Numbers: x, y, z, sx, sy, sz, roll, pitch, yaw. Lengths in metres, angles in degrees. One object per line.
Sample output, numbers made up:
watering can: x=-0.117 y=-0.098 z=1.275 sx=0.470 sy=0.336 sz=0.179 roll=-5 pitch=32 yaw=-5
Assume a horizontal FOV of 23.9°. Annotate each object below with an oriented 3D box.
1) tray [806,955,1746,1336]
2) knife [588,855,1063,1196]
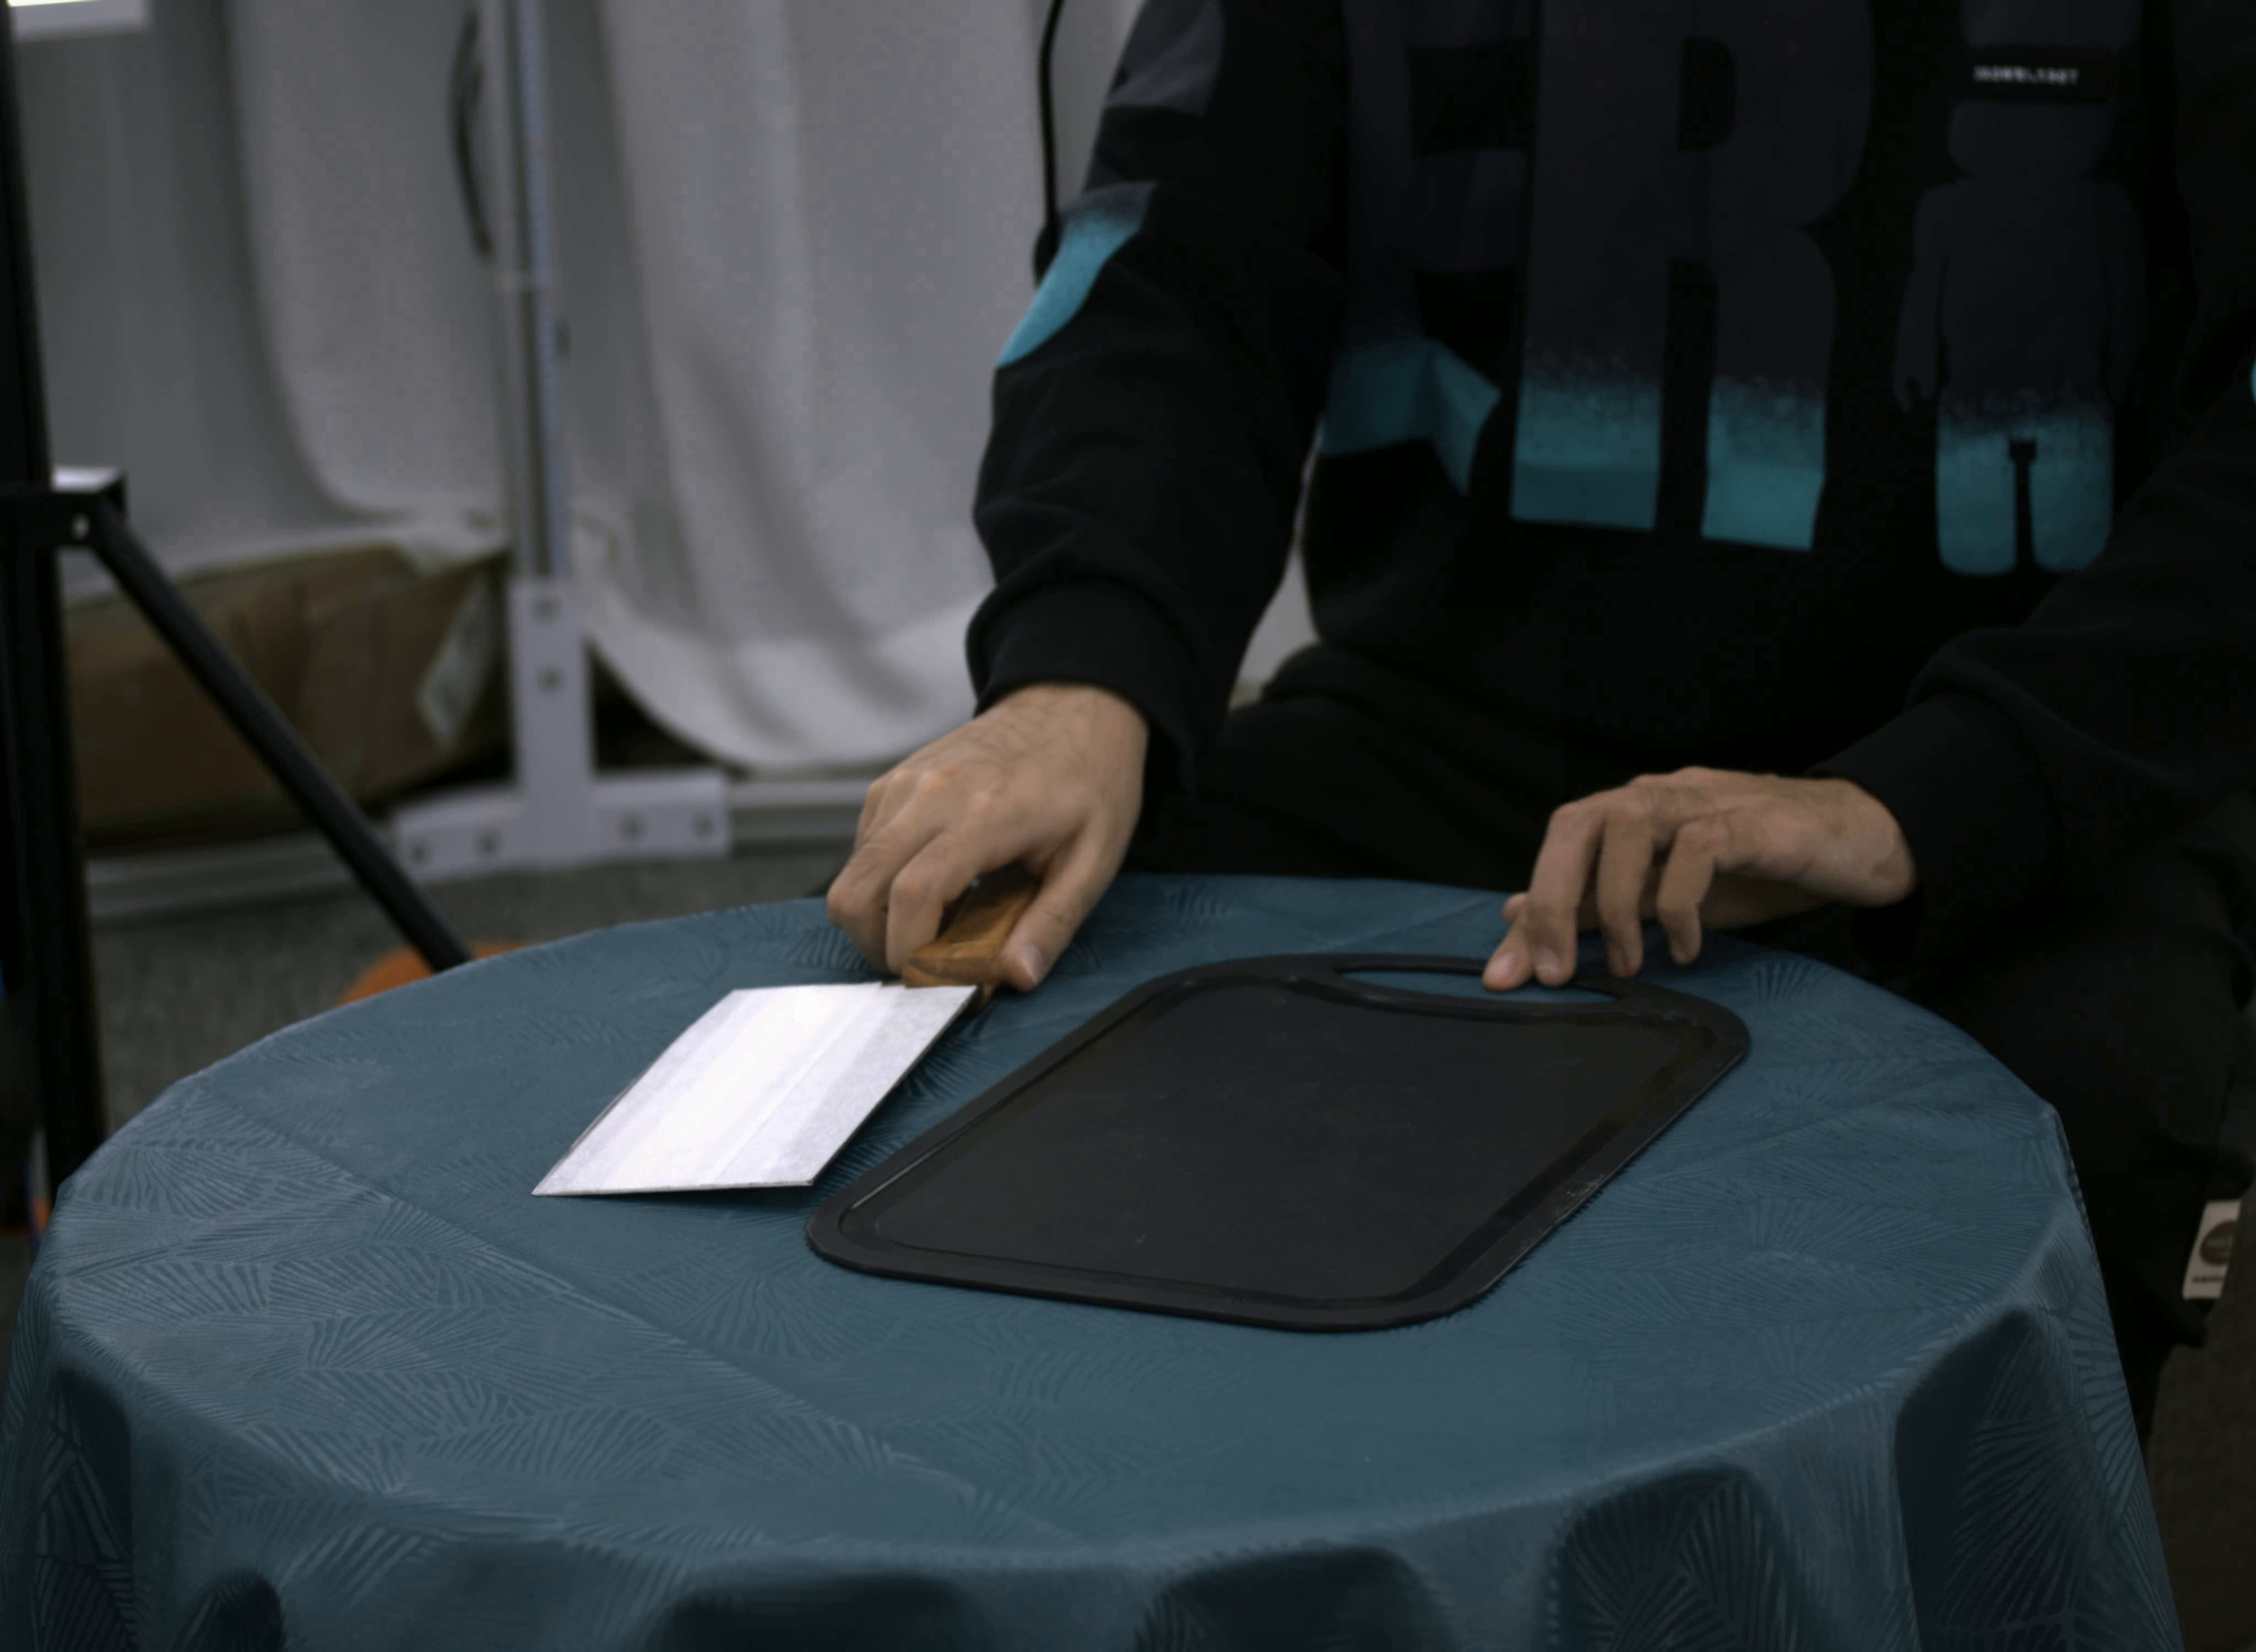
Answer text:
tray: x=0.054 y=0.088 z=1.607 sx=0.214 sy=0.010 sz=0.320 roll=5 pitch=18 yaw=26
knife: x=-0.096 y=0.063 z=1.707 sx=0.094 sy=0.021 sz=0.303 roll=-5 pitch=15 yaw=17
